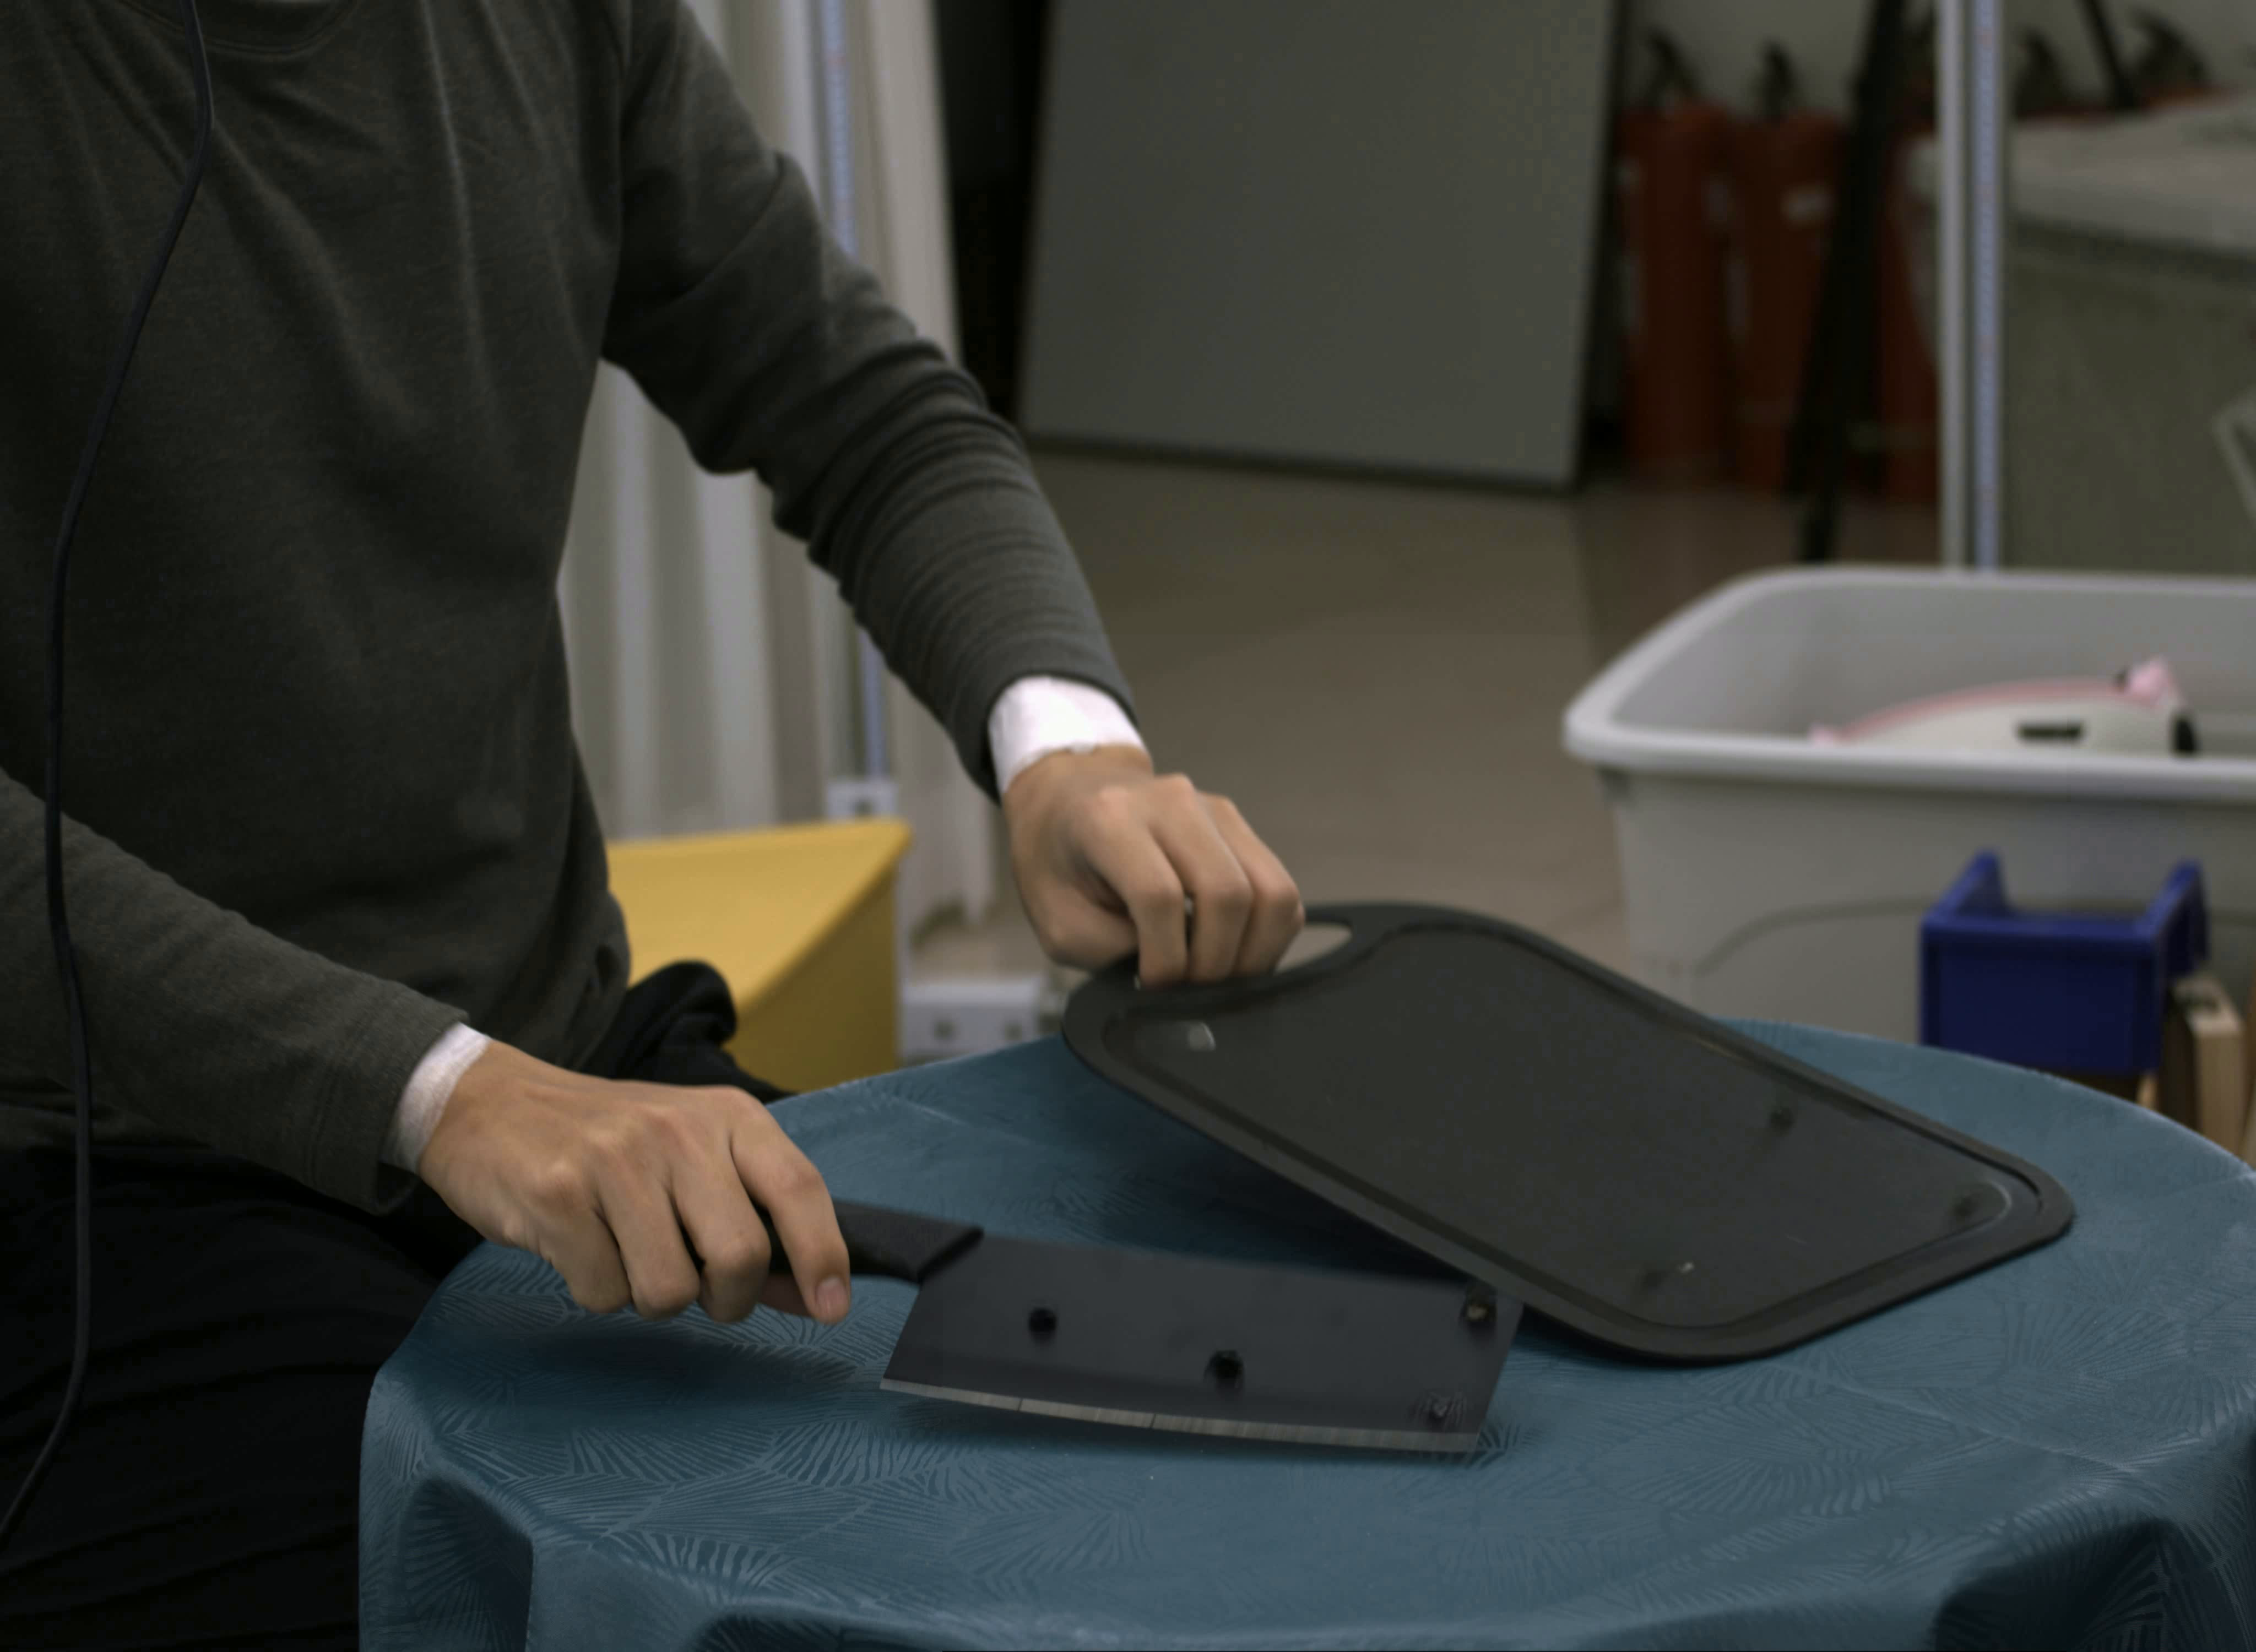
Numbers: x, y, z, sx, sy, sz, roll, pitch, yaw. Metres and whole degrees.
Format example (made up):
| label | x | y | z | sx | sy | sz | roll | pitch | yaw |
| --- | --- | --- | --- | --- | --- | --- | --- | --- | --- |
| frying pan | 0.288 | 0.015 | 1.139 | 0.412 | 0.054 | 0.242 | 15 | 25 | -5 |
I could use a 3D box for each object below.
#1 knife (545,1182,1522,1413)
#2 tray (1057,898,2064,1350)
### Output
| label | x | y | z | sx | sy | sz | roll | pitch | yaw |
| --- | --- | --- | --- | --- | --- | --- | --- | --- | --- |
| knife | -0.032 | 0.137 | 1.583 | 0.302 | 0.021 | 0.080 | 6 | 41 | 22 |
| tray | 0.129 | 0.087 | 1.732 | 0.206 | 0.010 | 0.329 | -14 | 28 | -39 |
